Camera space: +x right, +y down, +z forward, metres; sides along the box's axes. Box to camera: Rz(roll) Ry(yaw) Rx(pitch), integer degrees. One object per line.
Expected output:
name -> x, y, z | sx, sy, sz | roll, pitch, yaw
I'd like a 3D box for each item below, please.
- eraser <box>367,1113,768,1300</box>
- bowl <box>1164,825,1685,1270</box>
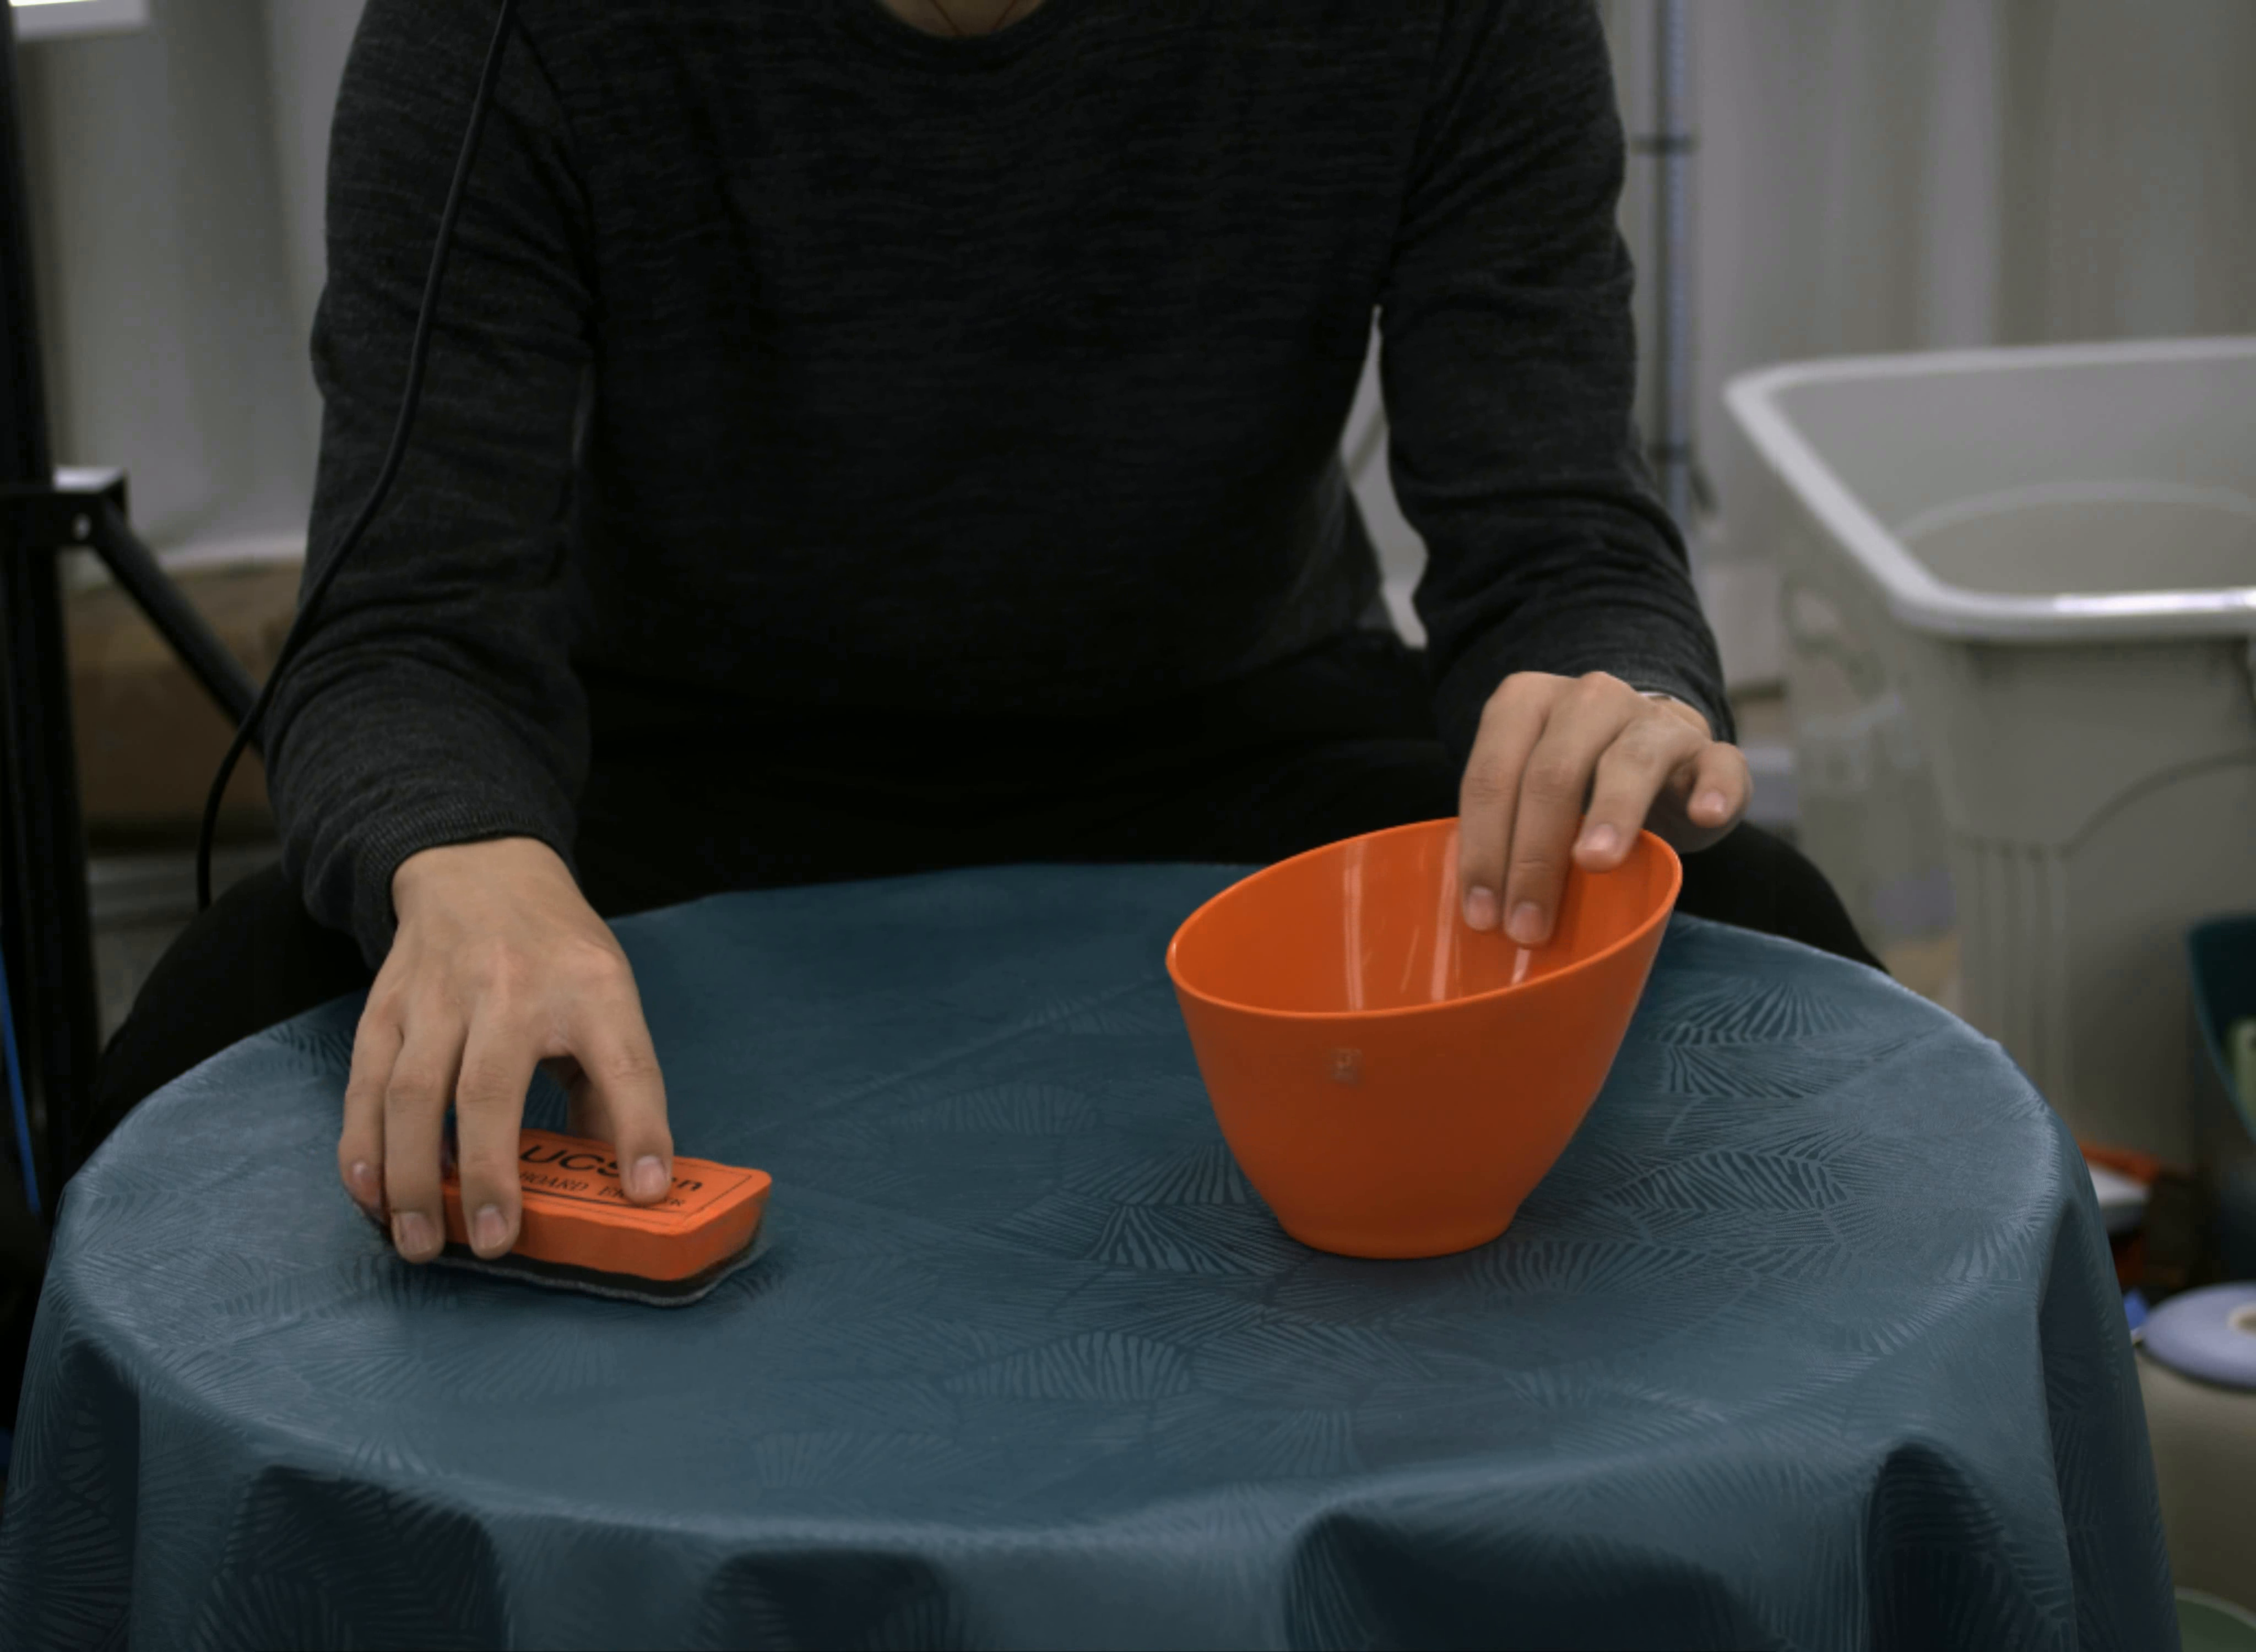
eraser -> -0.160, 0.108, 1.523 | 0.110, 0.023, 0.058 | 9, 20, 26
bowl -> 0.085, 0.066, 1.511 | 0.147, 0.104, 0.149 | -2, 15, -1
